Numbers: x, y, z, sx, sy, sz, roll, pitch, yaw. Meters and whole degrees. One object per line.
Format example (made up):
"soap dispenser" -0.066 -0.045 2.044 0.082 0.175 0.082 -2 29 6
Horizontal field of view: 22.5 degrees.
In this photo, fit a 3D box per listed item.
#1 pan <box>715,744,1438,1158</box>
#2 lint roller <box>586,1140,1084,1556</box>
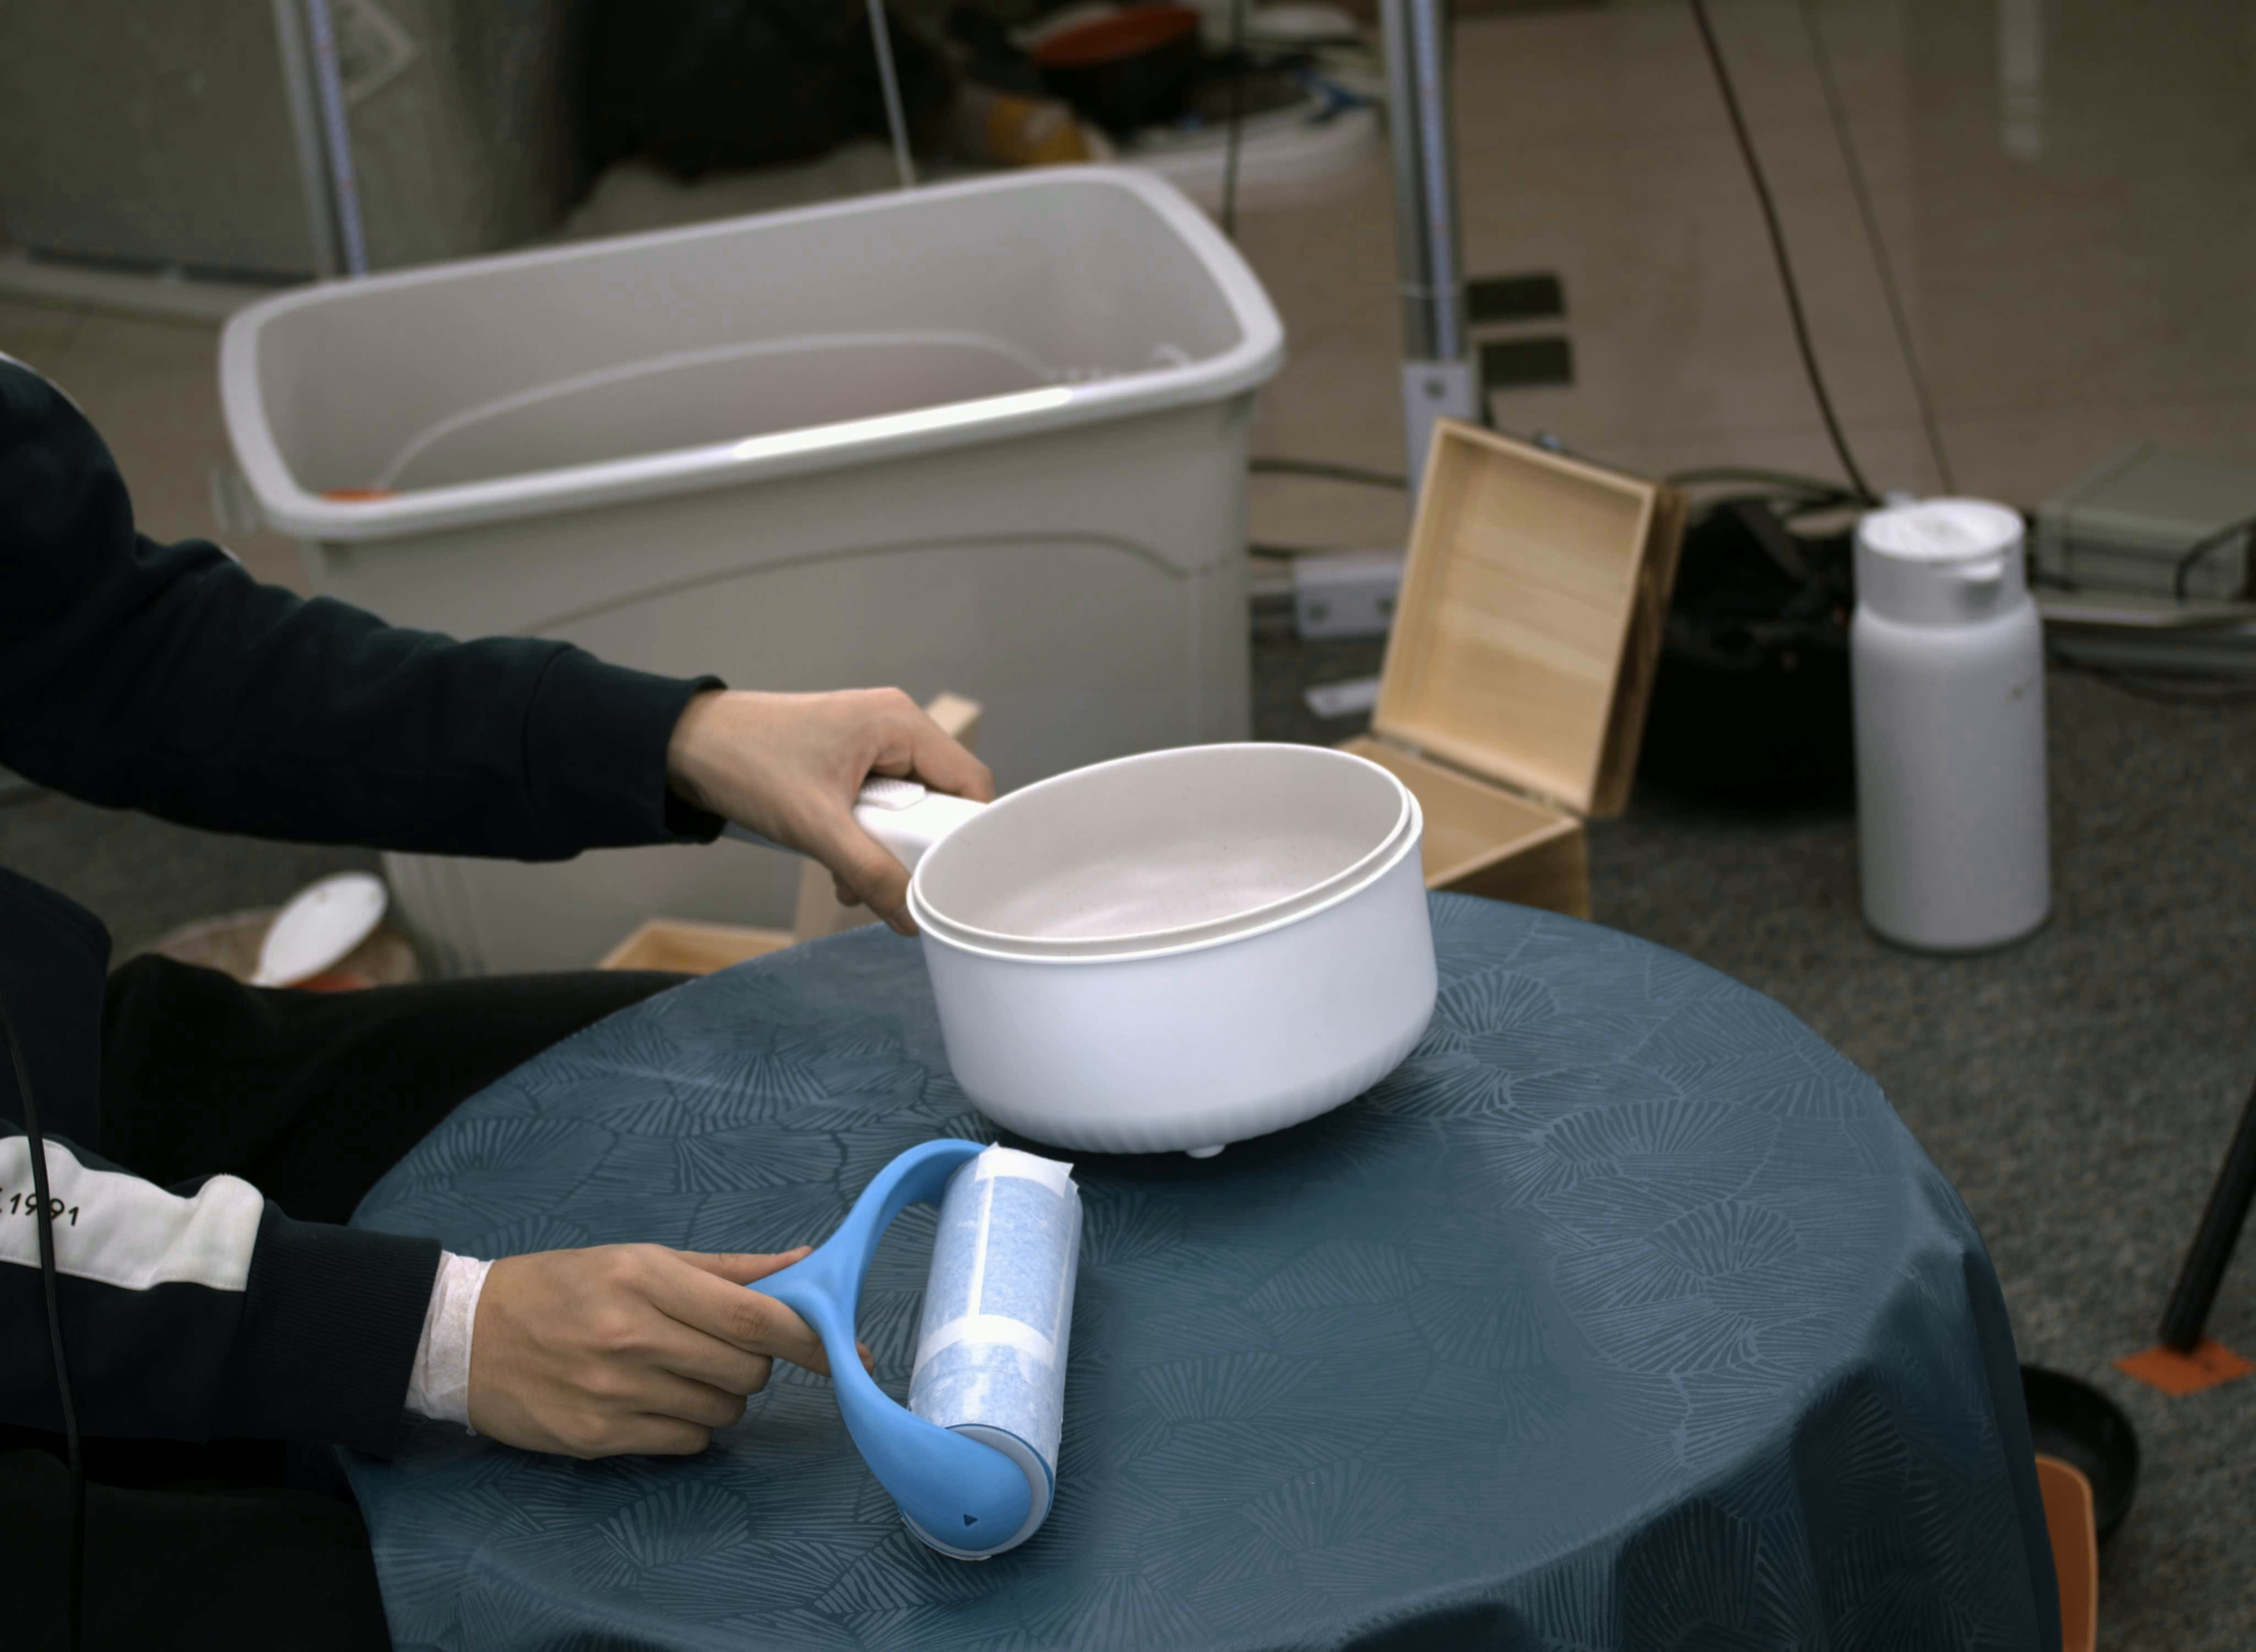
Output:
"pan" -0.032 0.041 2.248 0.199 0.103 0.353 -29 26 -38
"lint roller" -0.105 0.187 2.000 0.180 0.069 0.225 -4 27 2
